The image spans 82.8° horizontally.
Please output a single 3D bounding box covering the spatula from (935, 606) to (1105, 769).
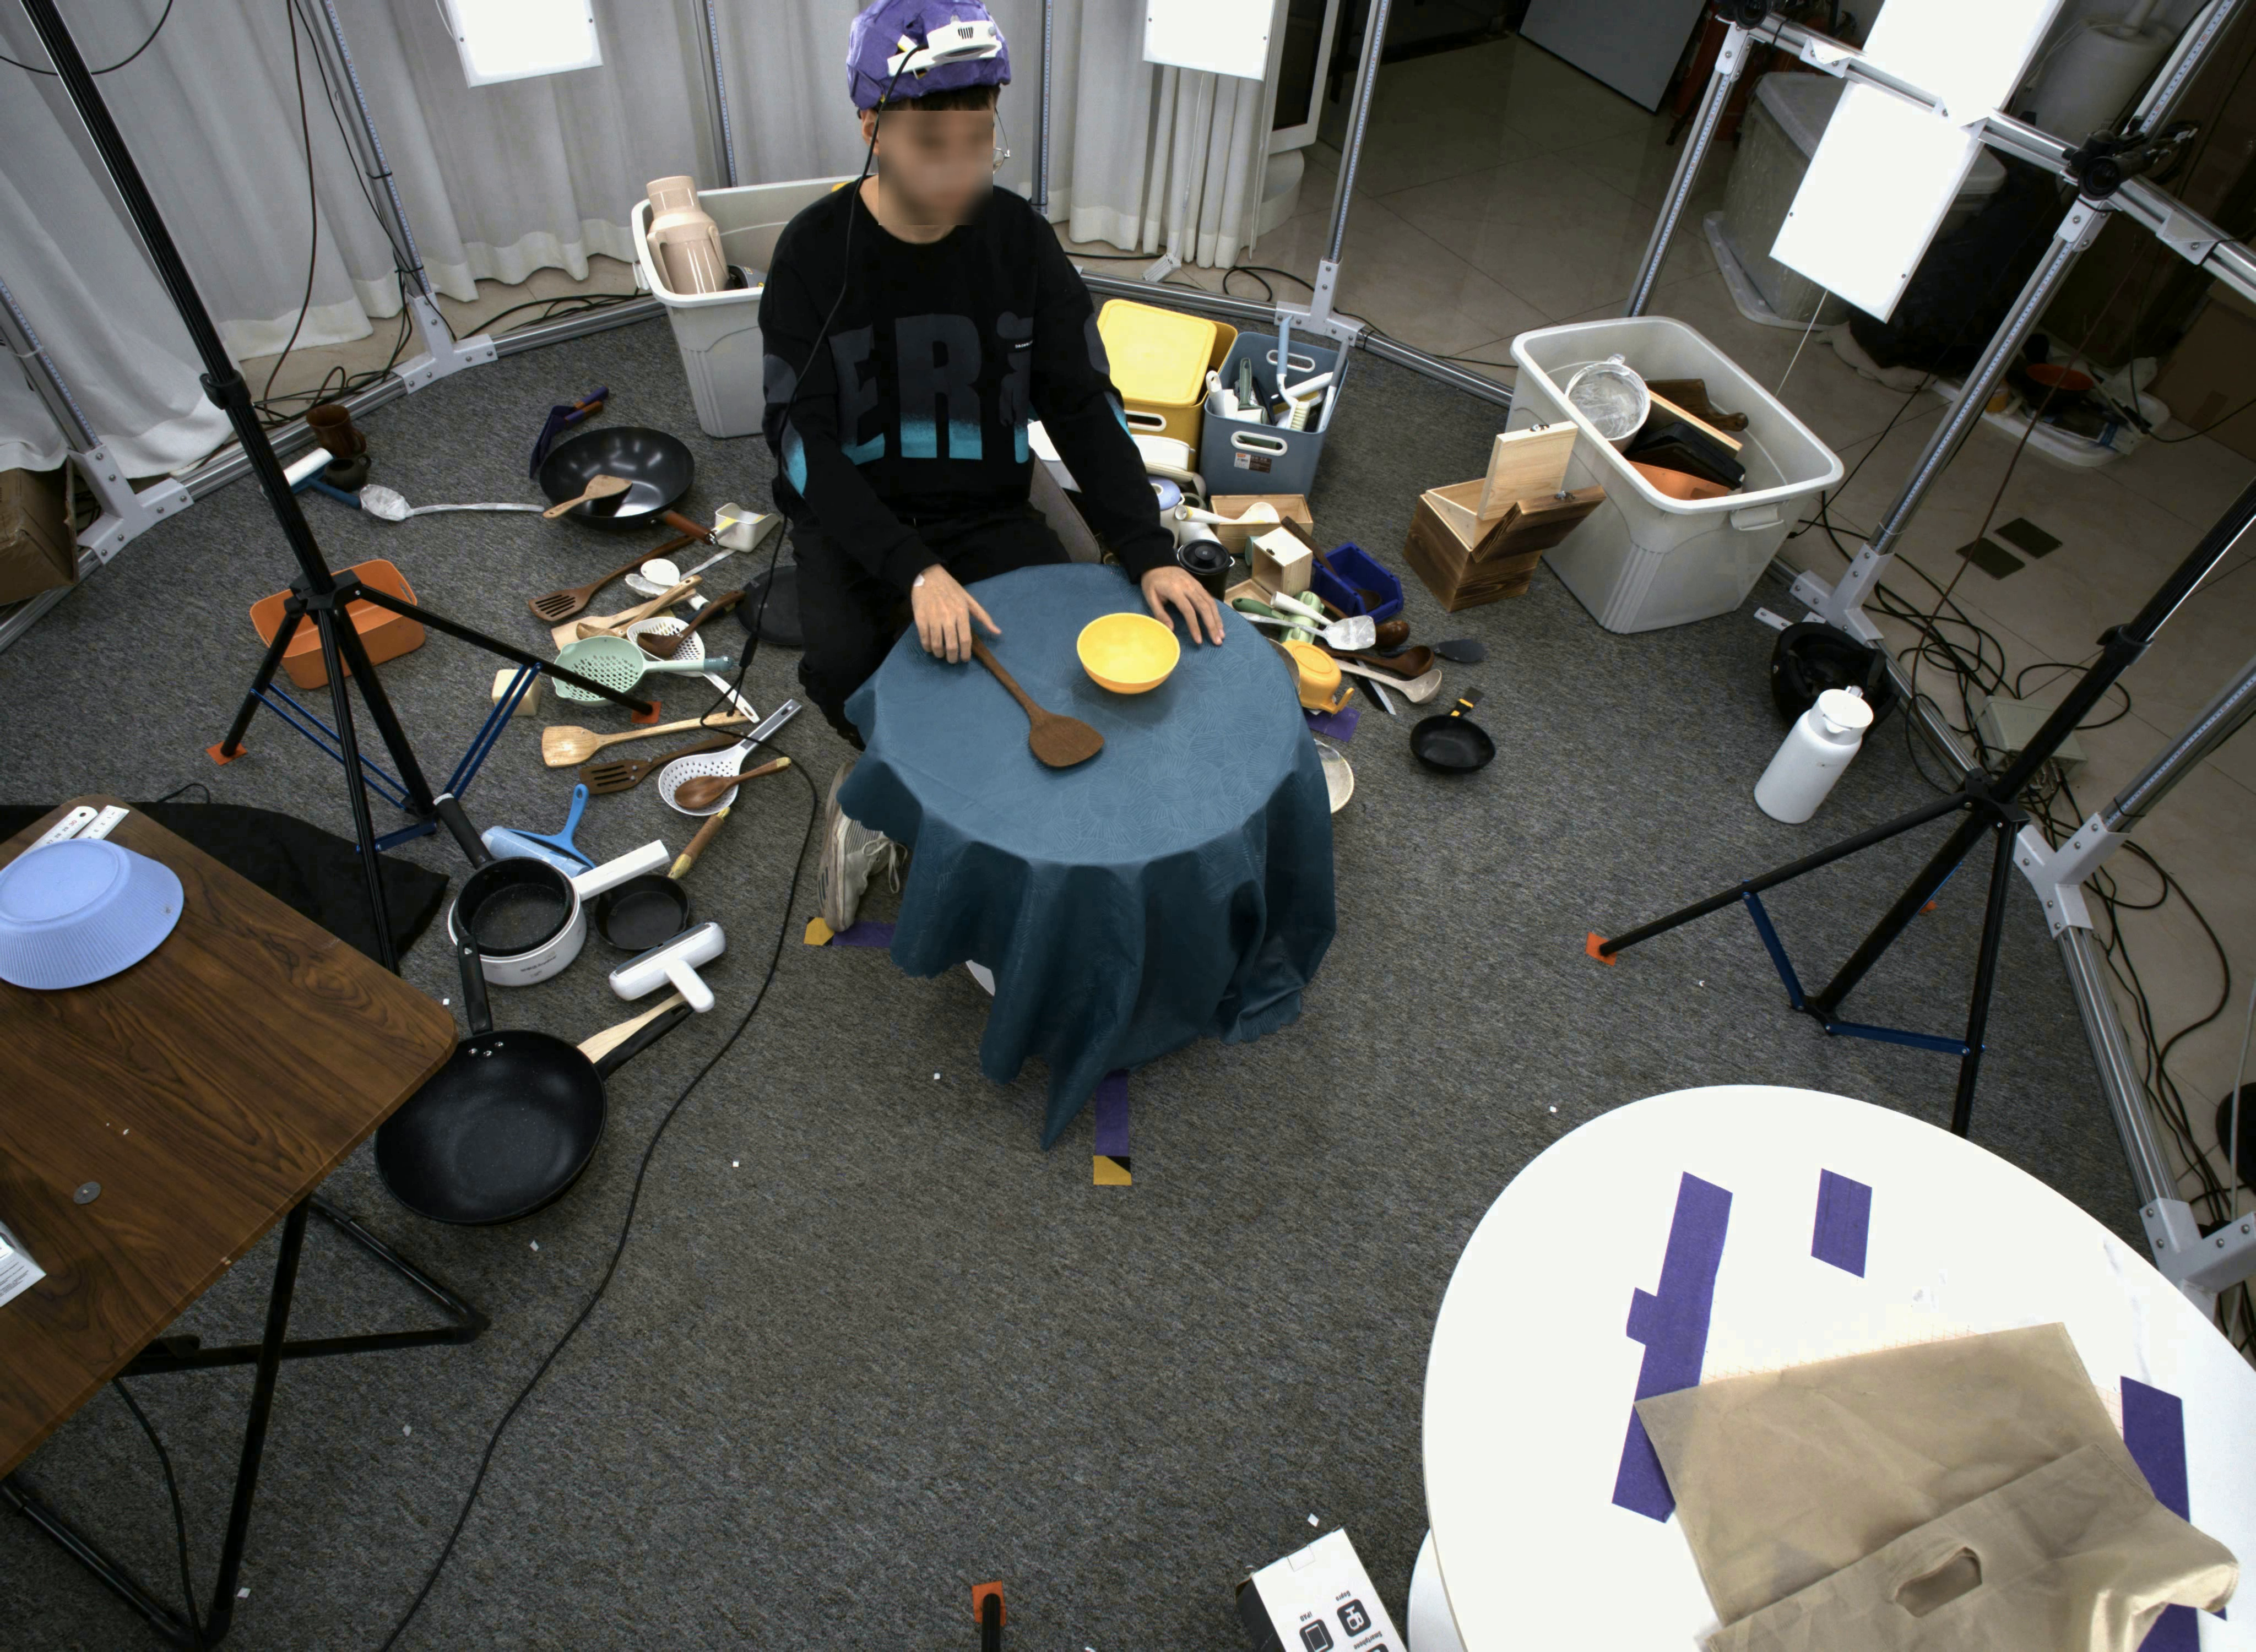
[{"bbox_3d":[-0.173,-0.209,1.847,0.096,0.015,0.393,-26,55,-25],"label":"spatula"}]

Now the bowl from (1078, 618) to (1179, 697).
[{"bbox_3d":[-0.002,-0.231,1.850,0.145,0.058,0.149,3,47,-4],"label":"bowl"}]
